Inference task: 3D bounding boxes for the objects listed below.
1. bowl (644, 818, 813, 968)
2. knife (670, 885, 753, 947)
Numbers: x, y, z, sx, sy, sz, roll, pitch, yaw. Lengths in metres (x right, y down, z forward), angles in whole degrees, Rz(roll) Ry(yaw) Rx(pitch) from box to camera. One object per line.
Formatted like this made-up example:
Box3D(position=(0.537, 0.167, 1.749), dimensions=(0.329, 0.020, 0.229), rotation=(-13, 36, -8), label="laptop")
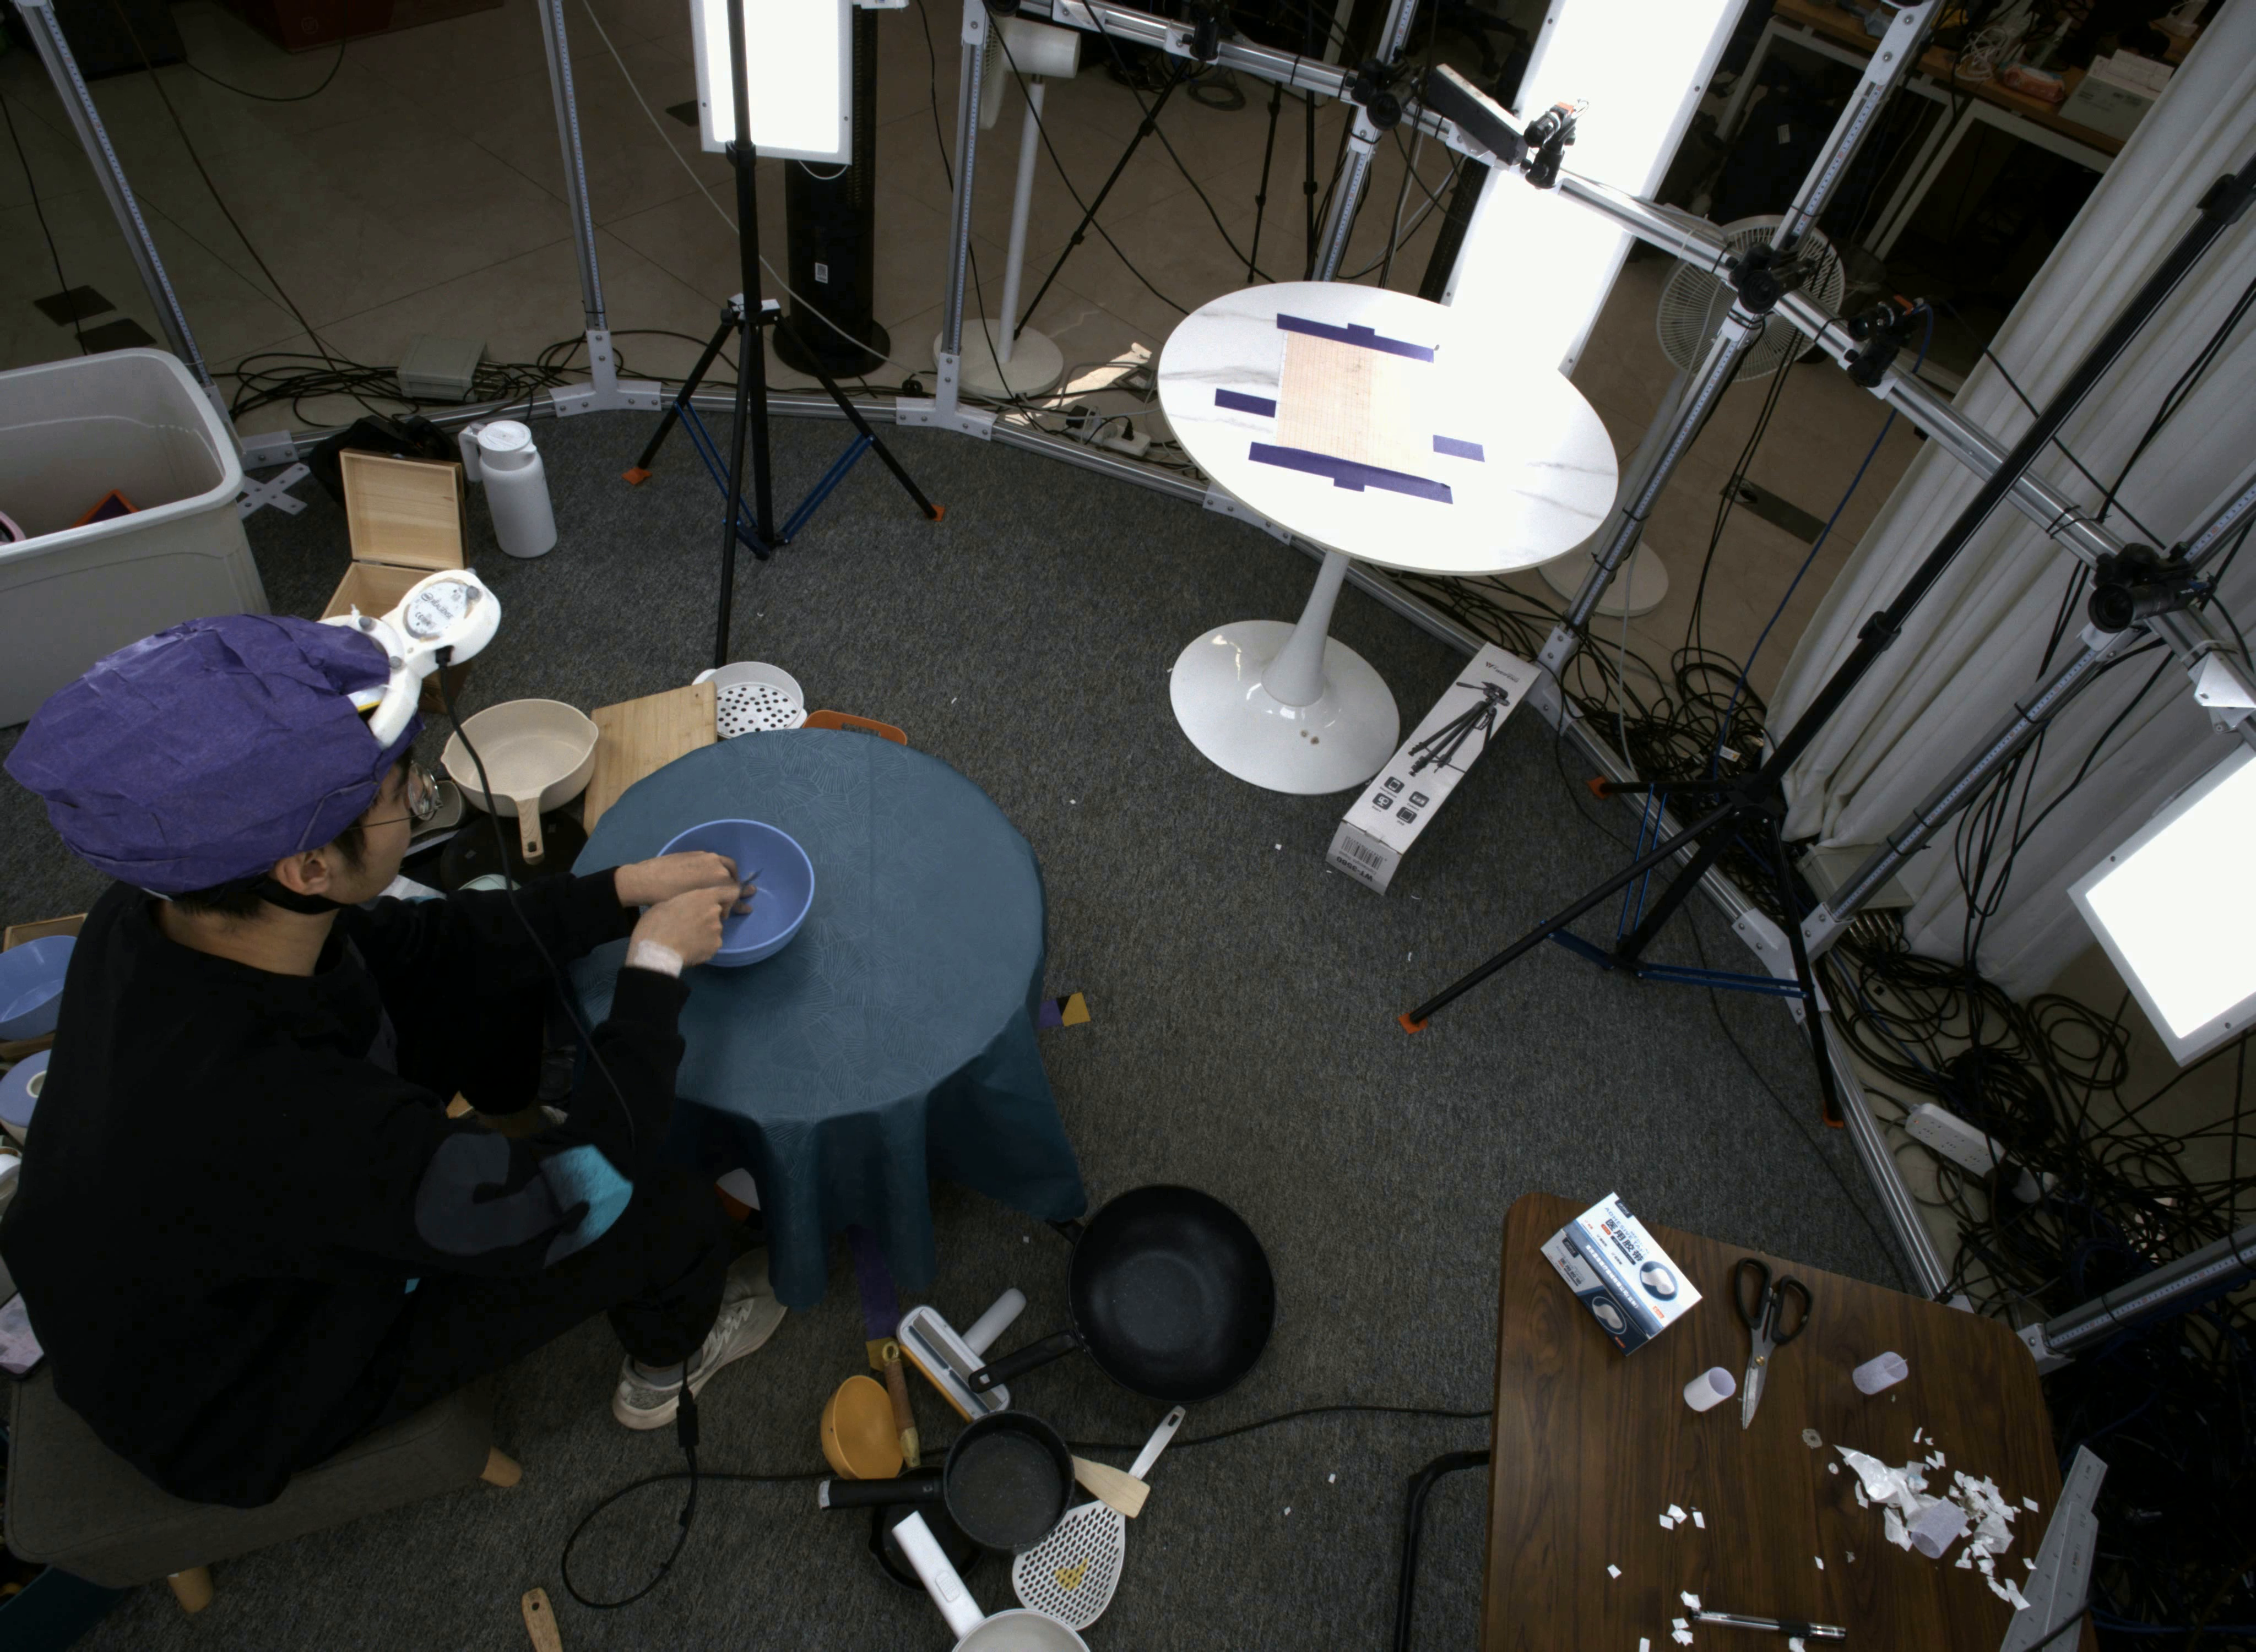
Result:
Box3D(position=(-0.480, 0.094, 1.563), dimensions=(0.196, 0.097, 0.193), rotation=(9, 49, -9), label="bowl")
Box3D(position=(-0.459, 0.091, 1.440), dimensions=(0.017, 0.026, 0.223), rotation=(29, 15, -1), label="knife")
